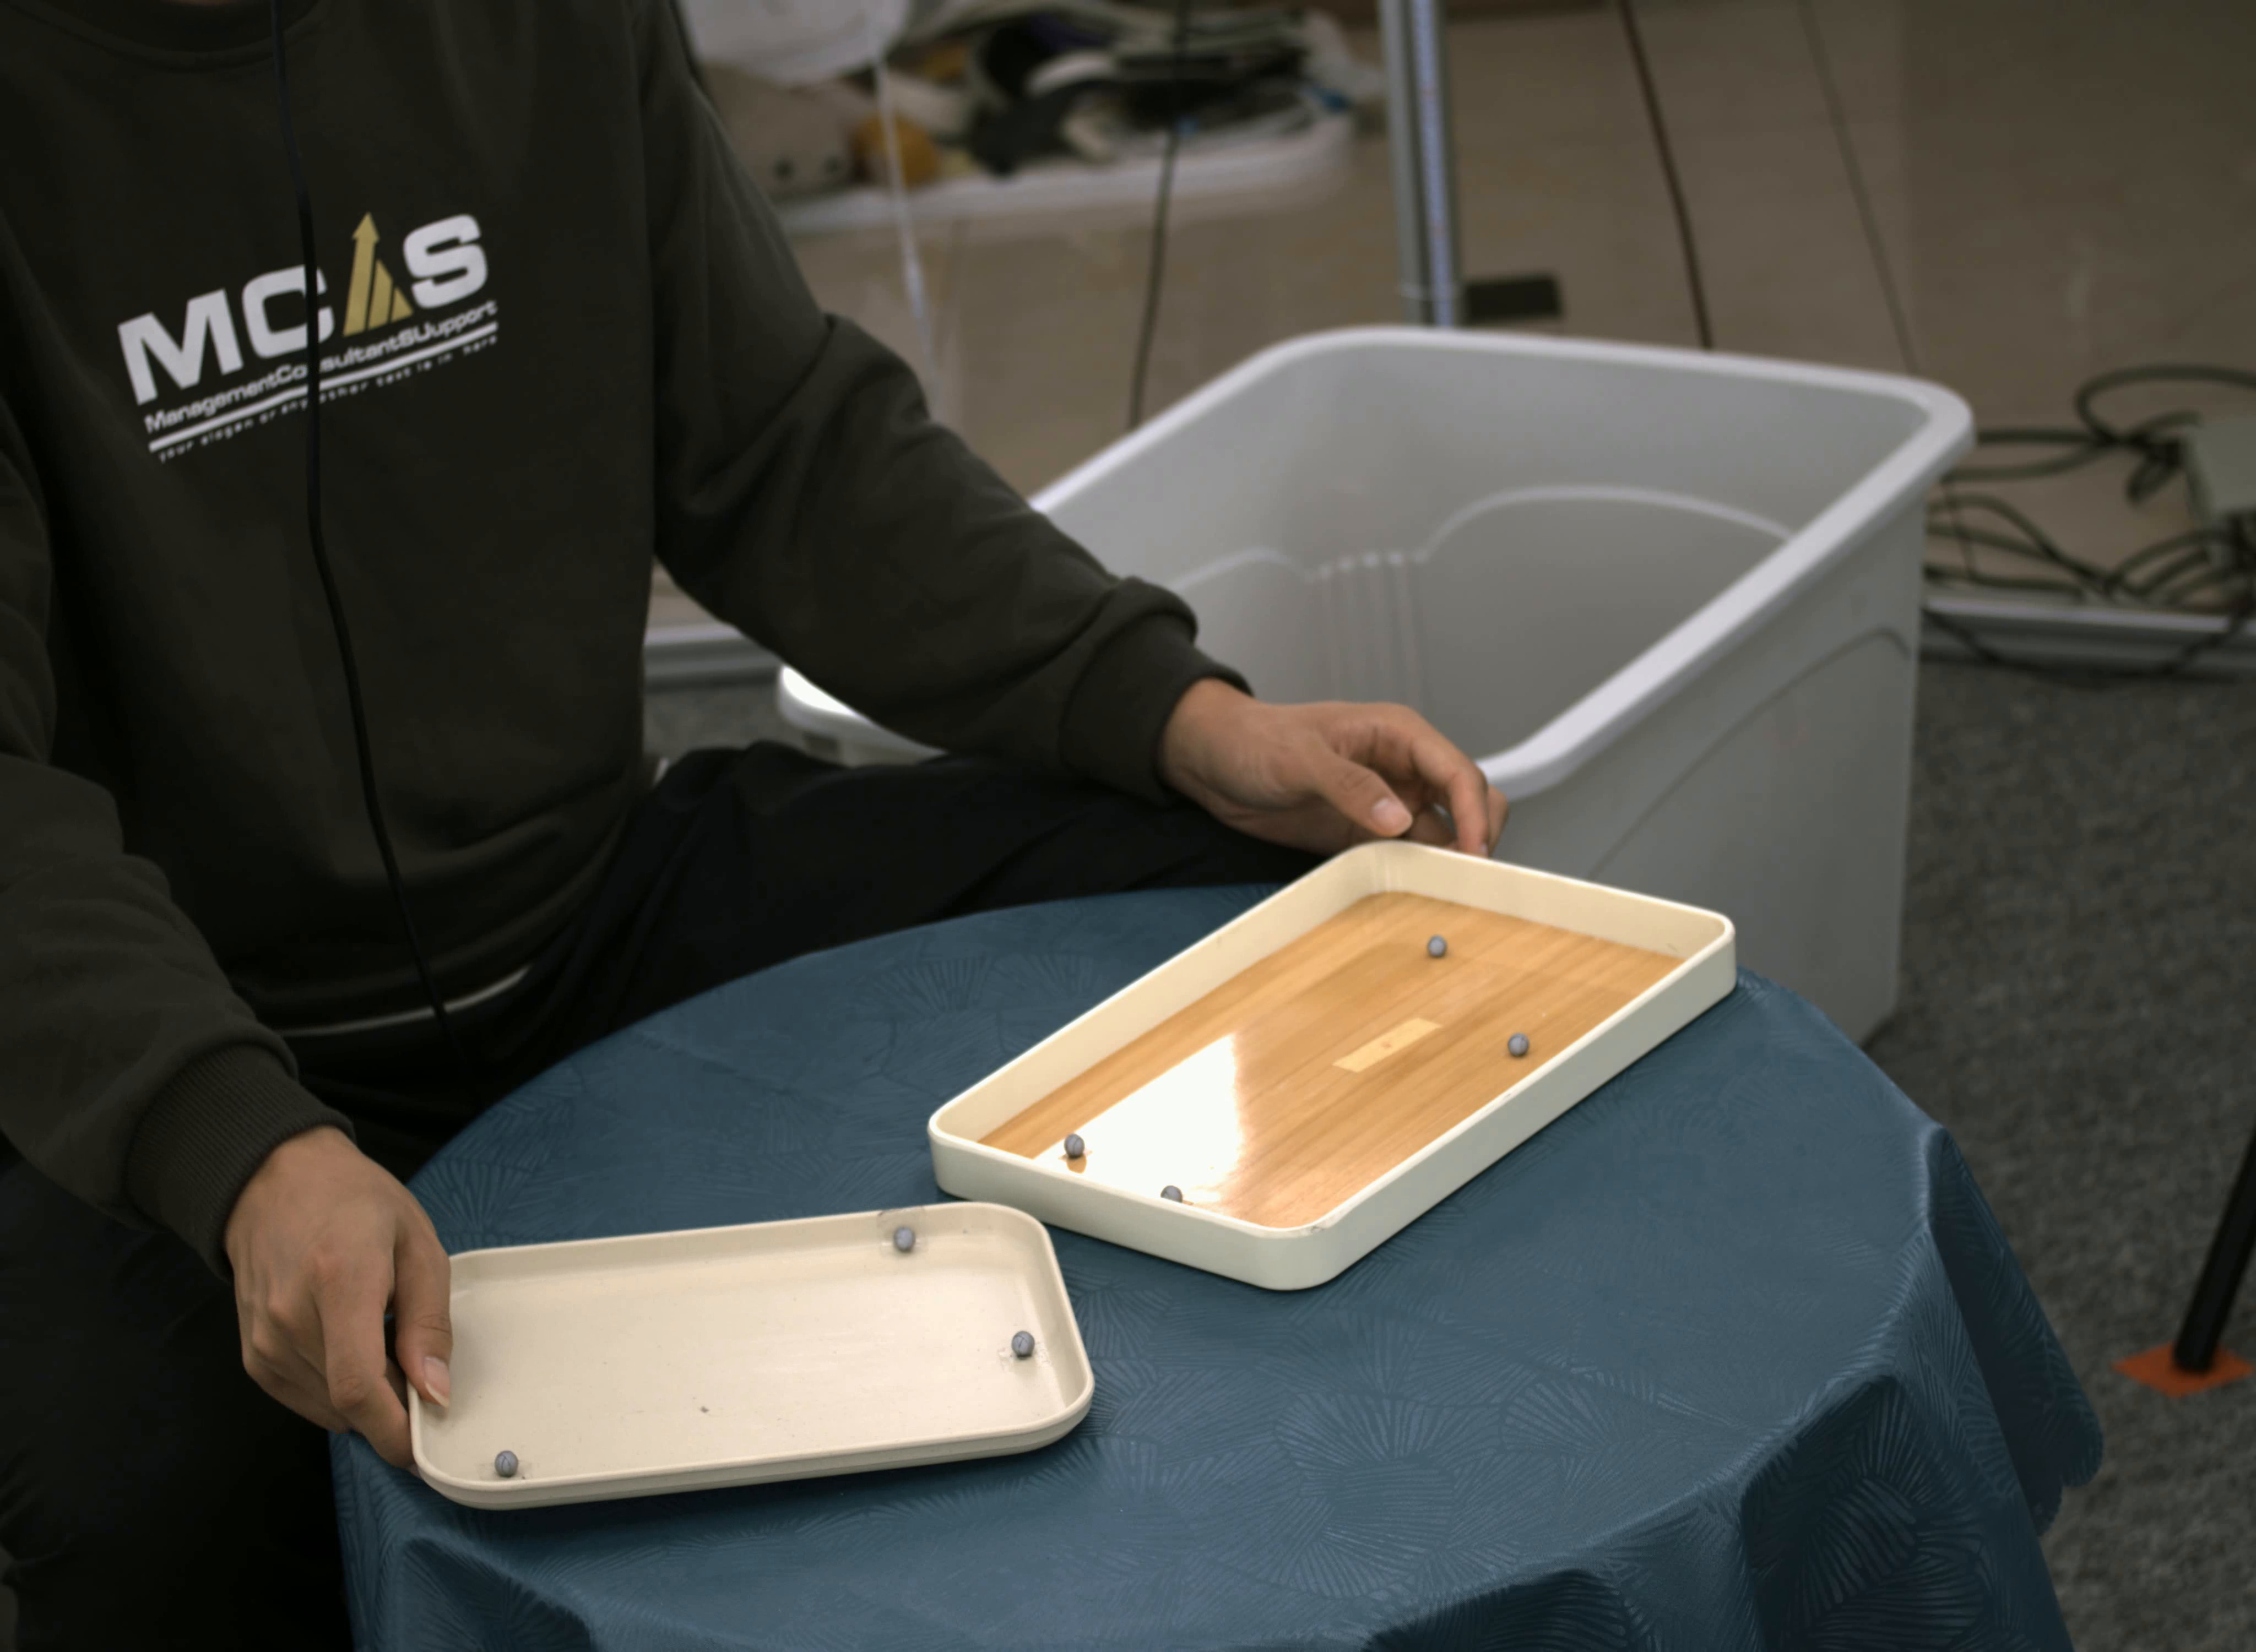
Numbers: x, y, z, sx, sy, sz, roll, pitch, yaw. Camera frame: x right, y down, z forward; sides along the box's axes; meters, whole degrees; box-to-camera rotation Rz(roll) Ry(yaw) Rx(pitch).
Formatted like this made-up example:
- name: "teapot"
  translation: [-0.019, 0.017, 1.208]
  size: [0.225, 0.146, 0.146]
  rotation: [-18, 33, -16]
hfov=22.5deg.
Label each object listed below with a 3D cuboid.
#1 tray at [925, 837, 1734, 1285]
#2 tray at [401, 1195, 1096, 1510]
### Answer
- name: "tray"
  translation: [0.082, 0.087, 2.209]
  size: [0.190, 0.028, 0.297]
  rotation: [14, 31, 37]
- name: "tray"
  translation: [-0.138, 0.189, 2.032]
  size: [0.239, 0.018, 0.169]
  rotation: [-5, 26, -8]
